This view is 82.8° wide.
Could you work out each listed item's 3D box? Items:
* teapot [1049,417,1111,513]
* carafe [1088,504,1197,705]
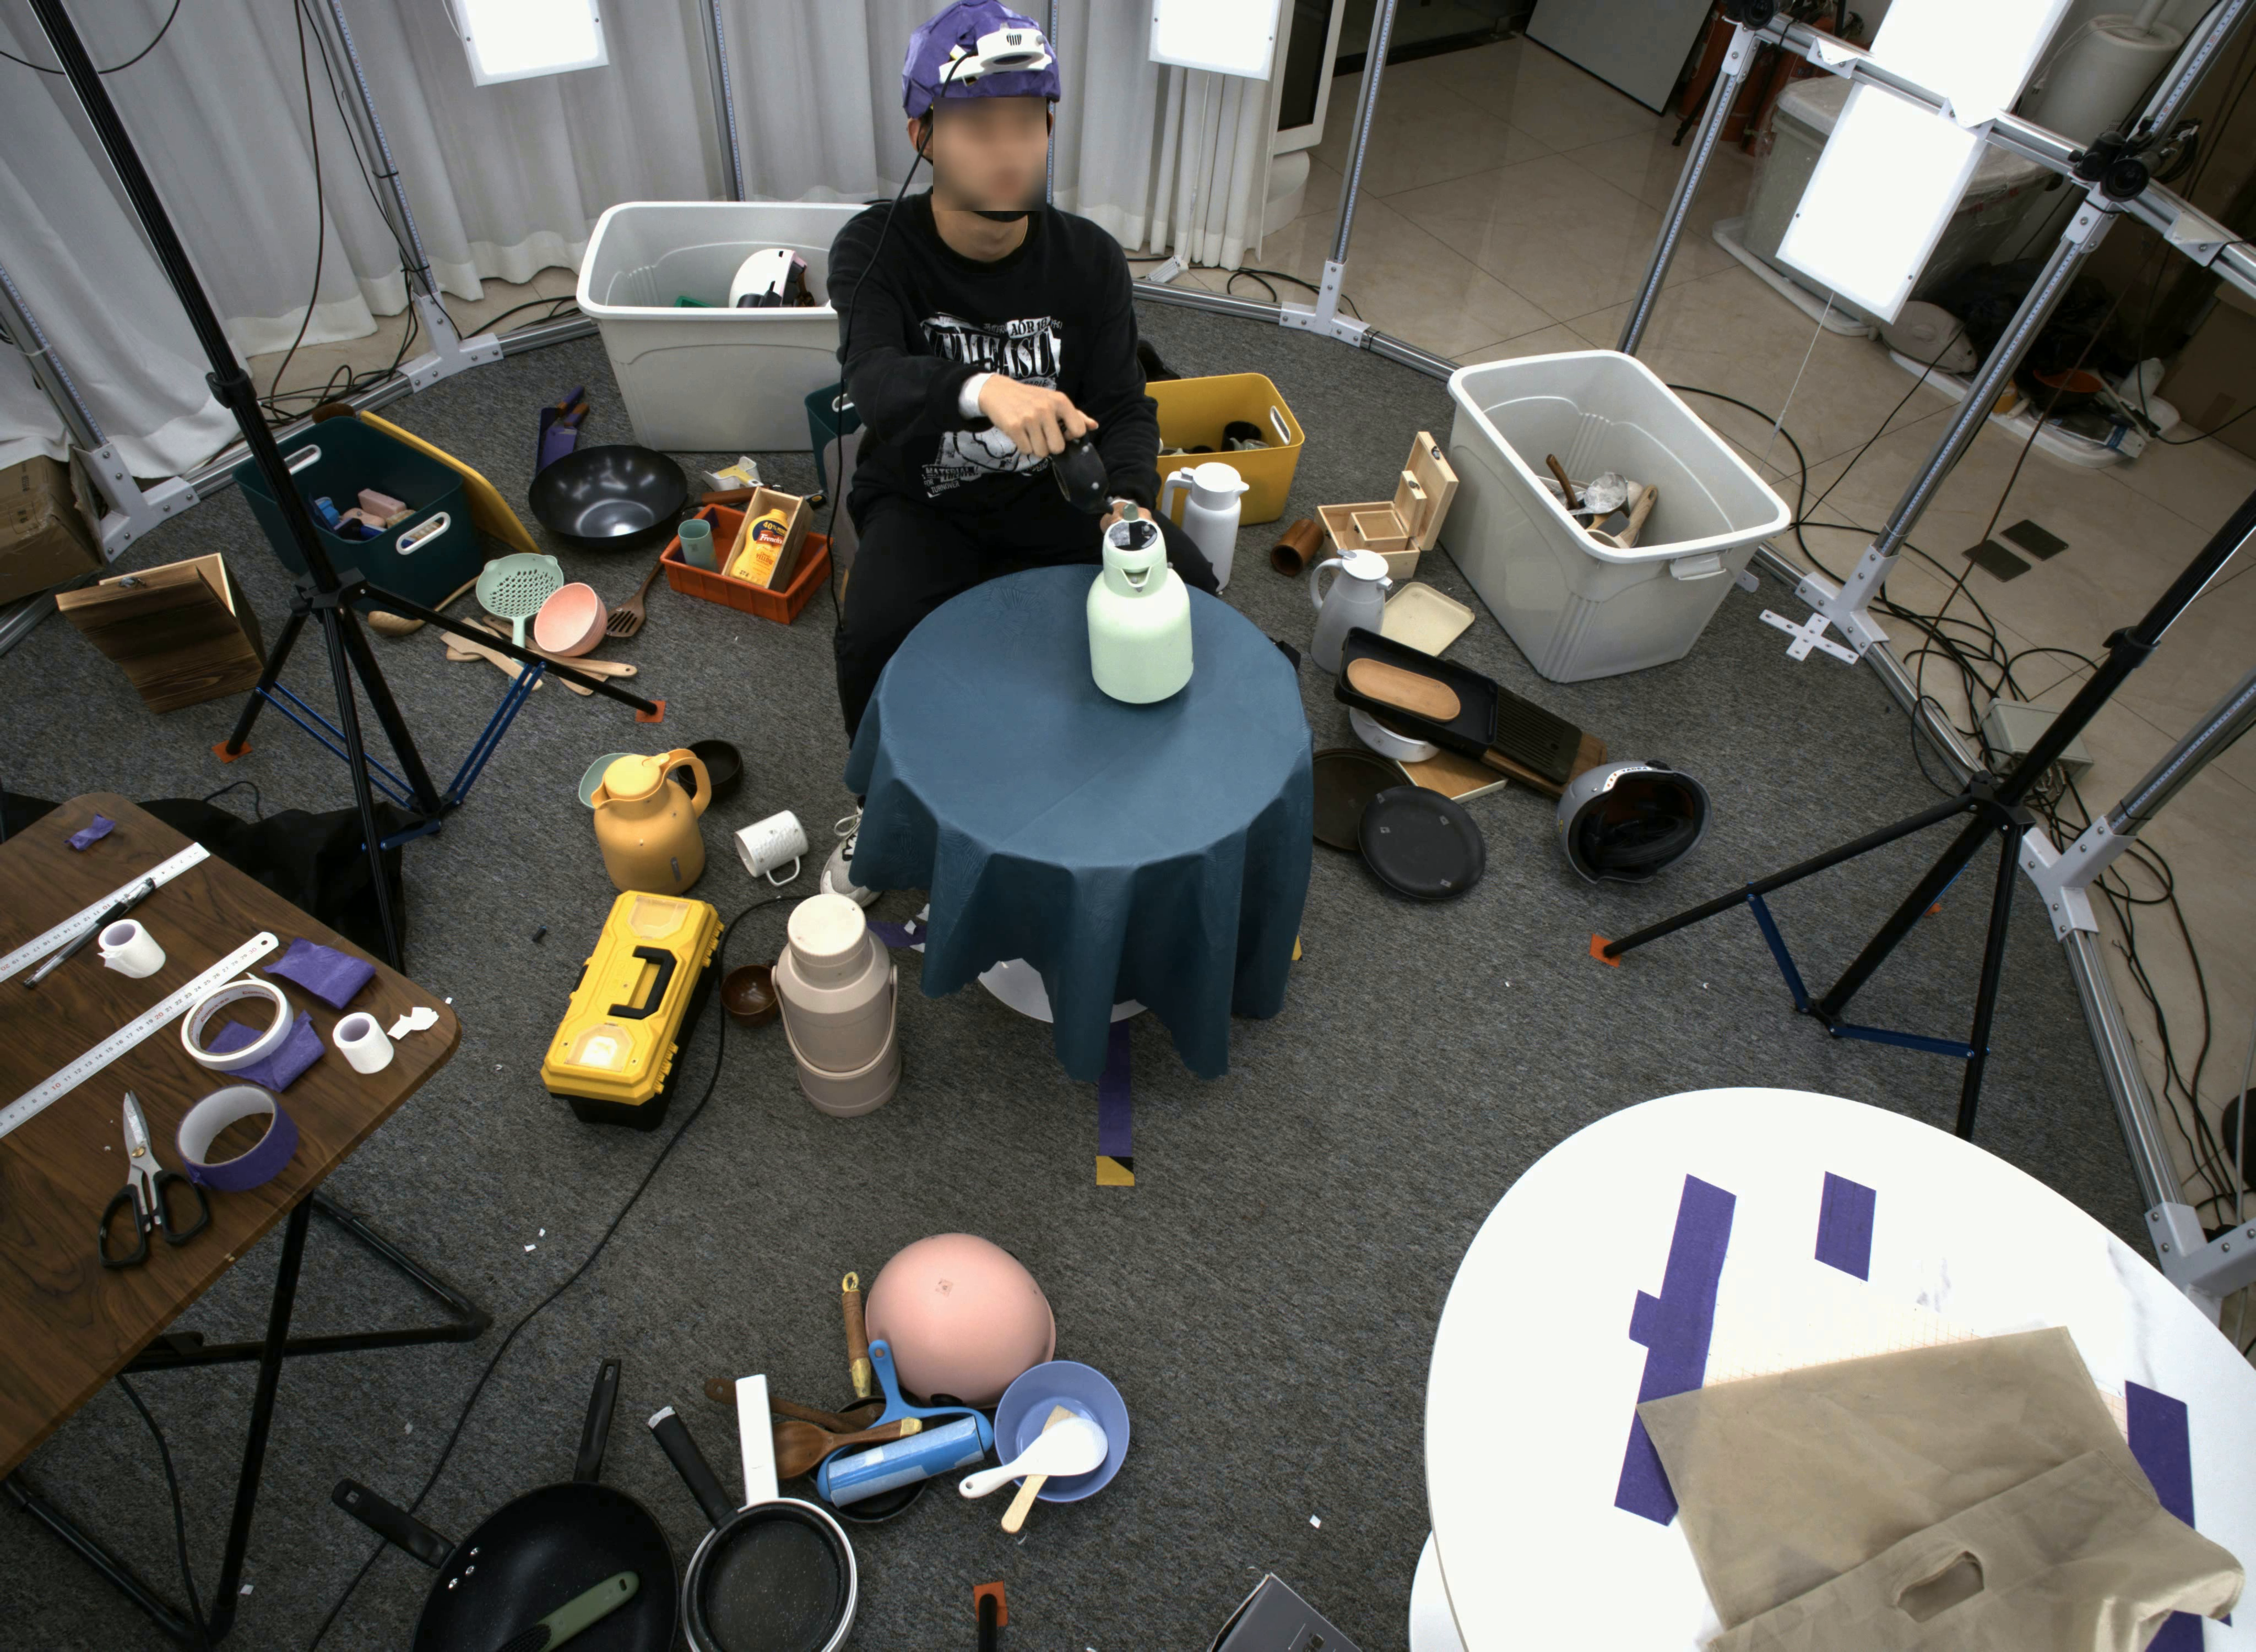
[{"bbox_3d":[-0.064,-0.442,1.609,0.053,0.130,0.093,-24,33,-5],"label":"teapot"},{"bbox_3d":[0.015,-0.309,1.769,0.144,0.250,0.191,-7,46,2],"label":"carafe"}]
